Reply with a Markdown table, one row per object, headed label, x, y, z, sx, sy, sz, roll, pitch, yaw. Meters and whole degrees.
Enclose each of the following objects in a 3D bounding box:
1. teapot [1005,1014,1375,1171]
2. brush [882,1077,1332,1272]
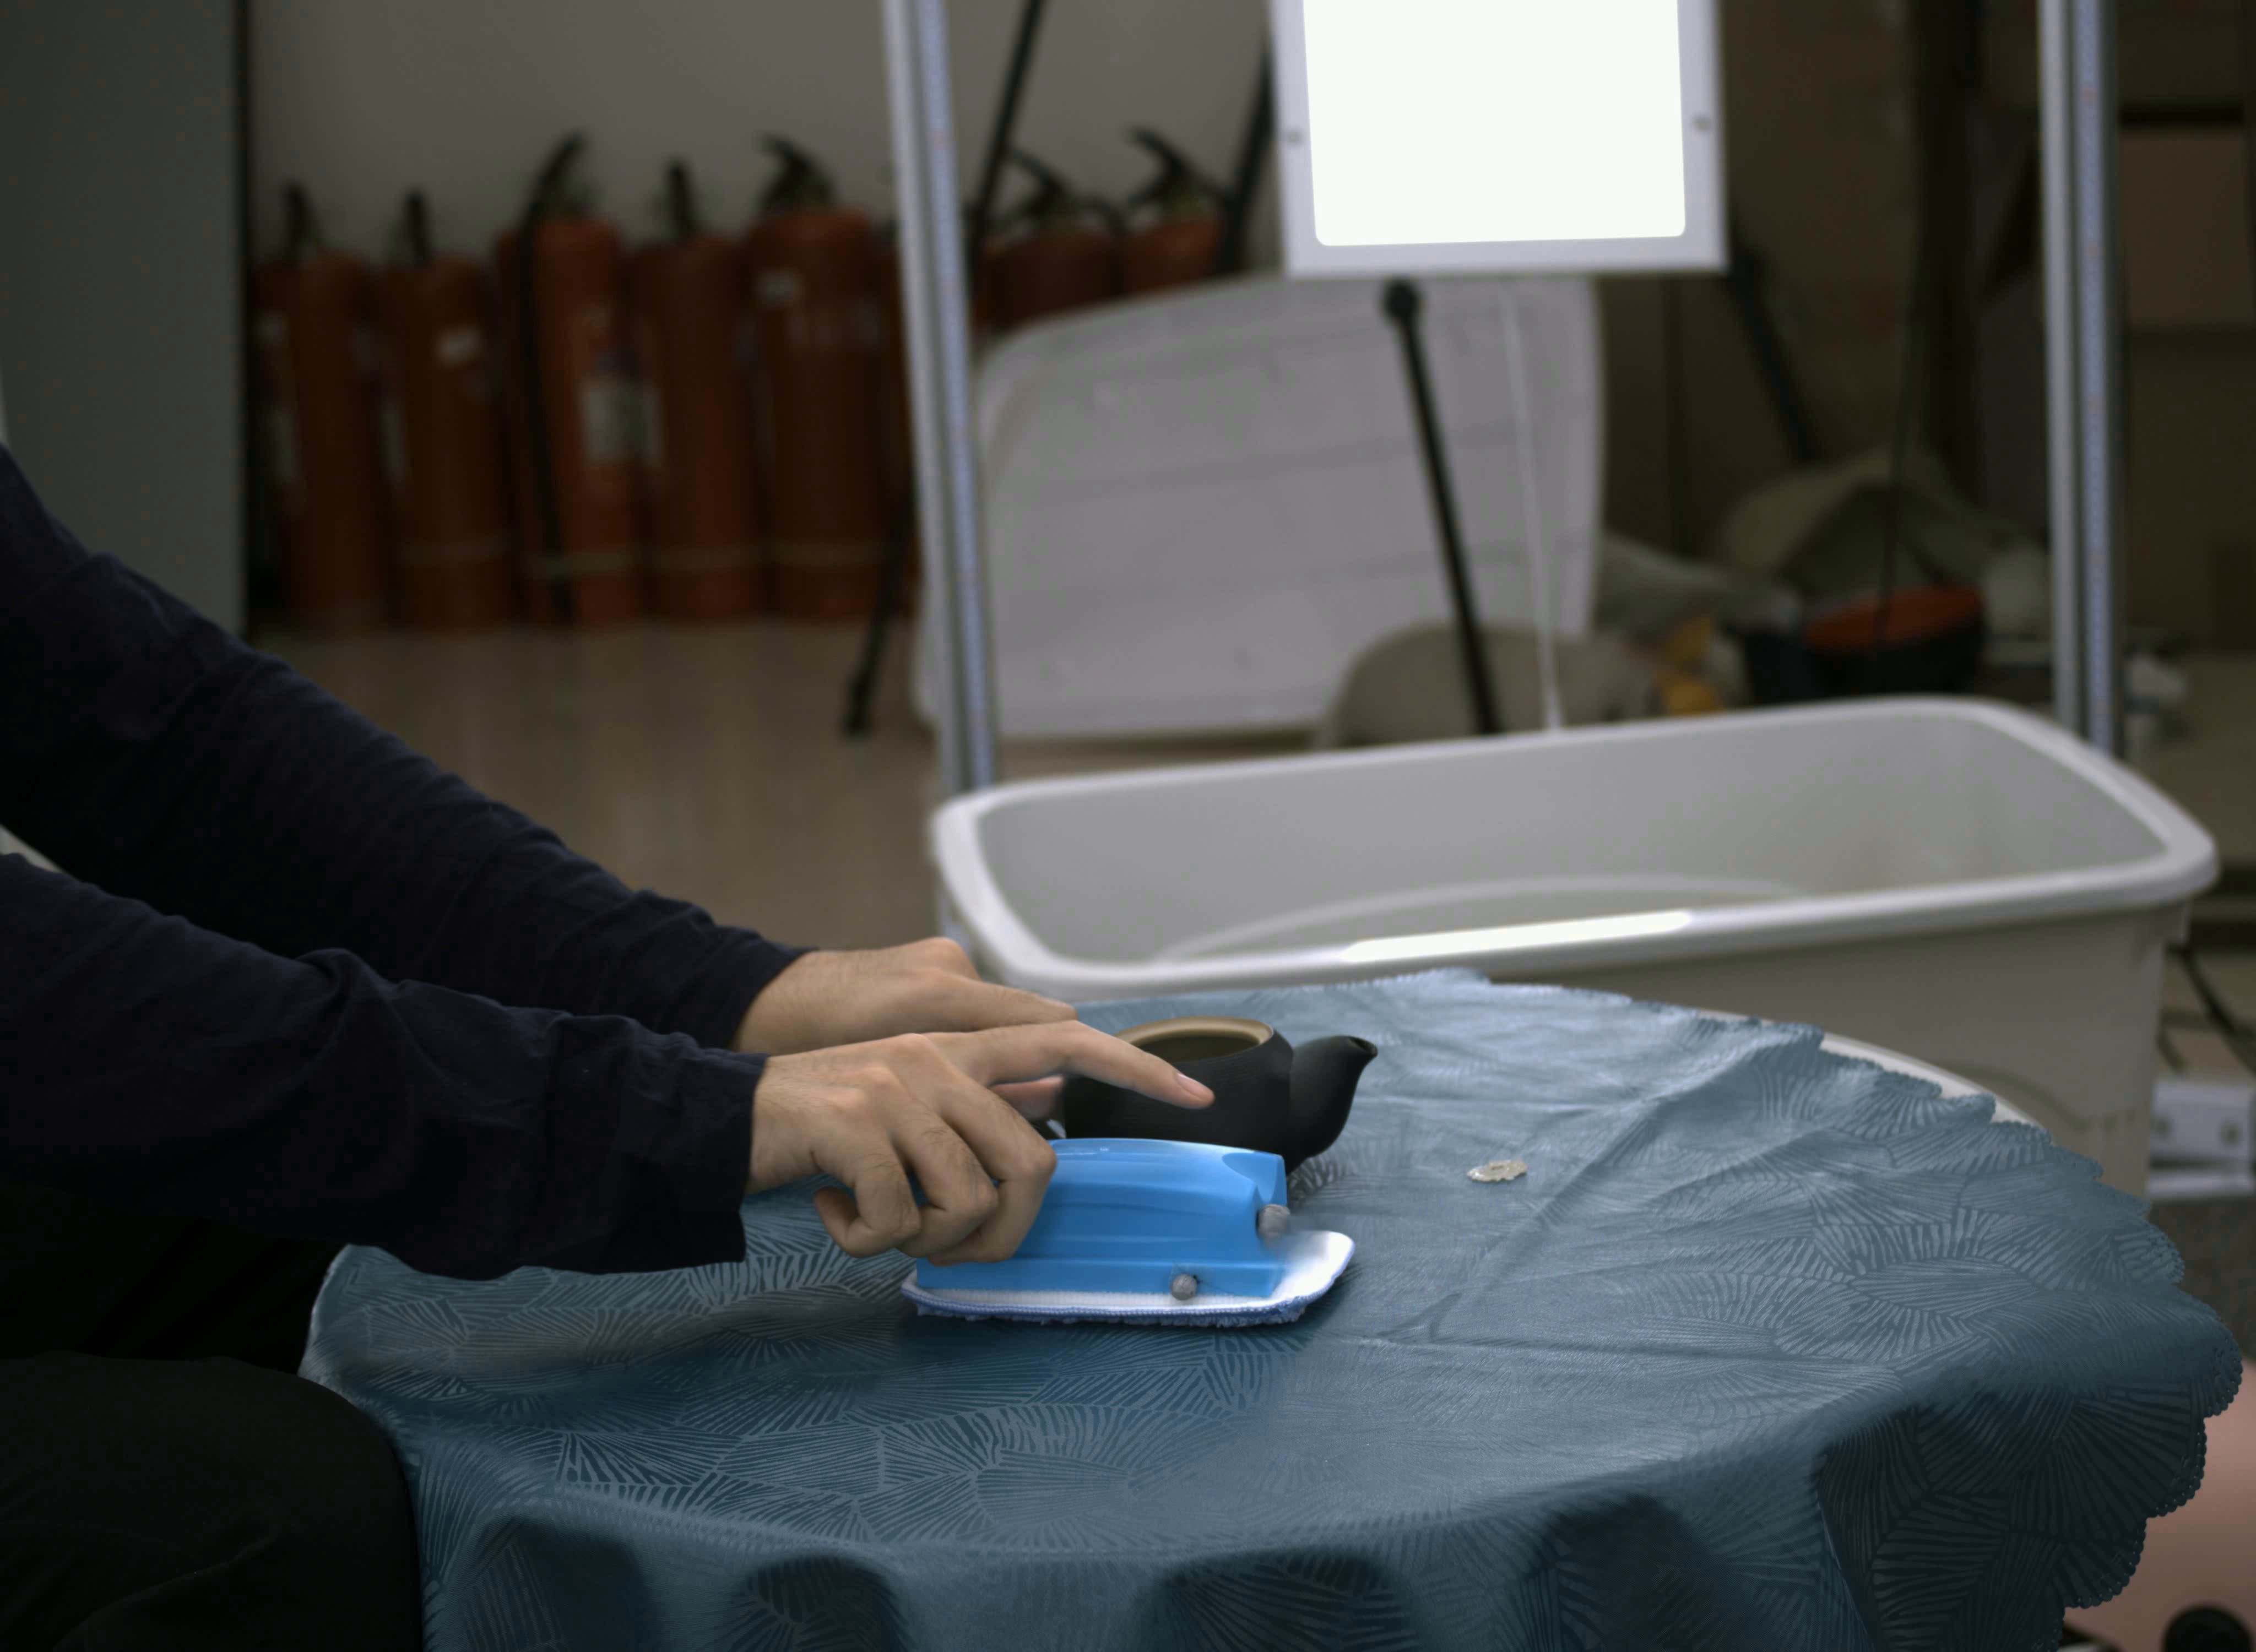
| label | x | y | z | sx | sy | sz | roll | pitch | yaw |
| --- | --- | --- | --- | --- | --- | --- | --- | --- | --- |
| teapot | 0.022 | 0.097 | 1.894 | 0.135 | 0.053 | 0.089 | 0 | 13 | 18 |
| brush | -0.006 | 0.112 | 1.764 | 0.143 | 0.056 | 0.084 | 8 | 3 | -3 |
